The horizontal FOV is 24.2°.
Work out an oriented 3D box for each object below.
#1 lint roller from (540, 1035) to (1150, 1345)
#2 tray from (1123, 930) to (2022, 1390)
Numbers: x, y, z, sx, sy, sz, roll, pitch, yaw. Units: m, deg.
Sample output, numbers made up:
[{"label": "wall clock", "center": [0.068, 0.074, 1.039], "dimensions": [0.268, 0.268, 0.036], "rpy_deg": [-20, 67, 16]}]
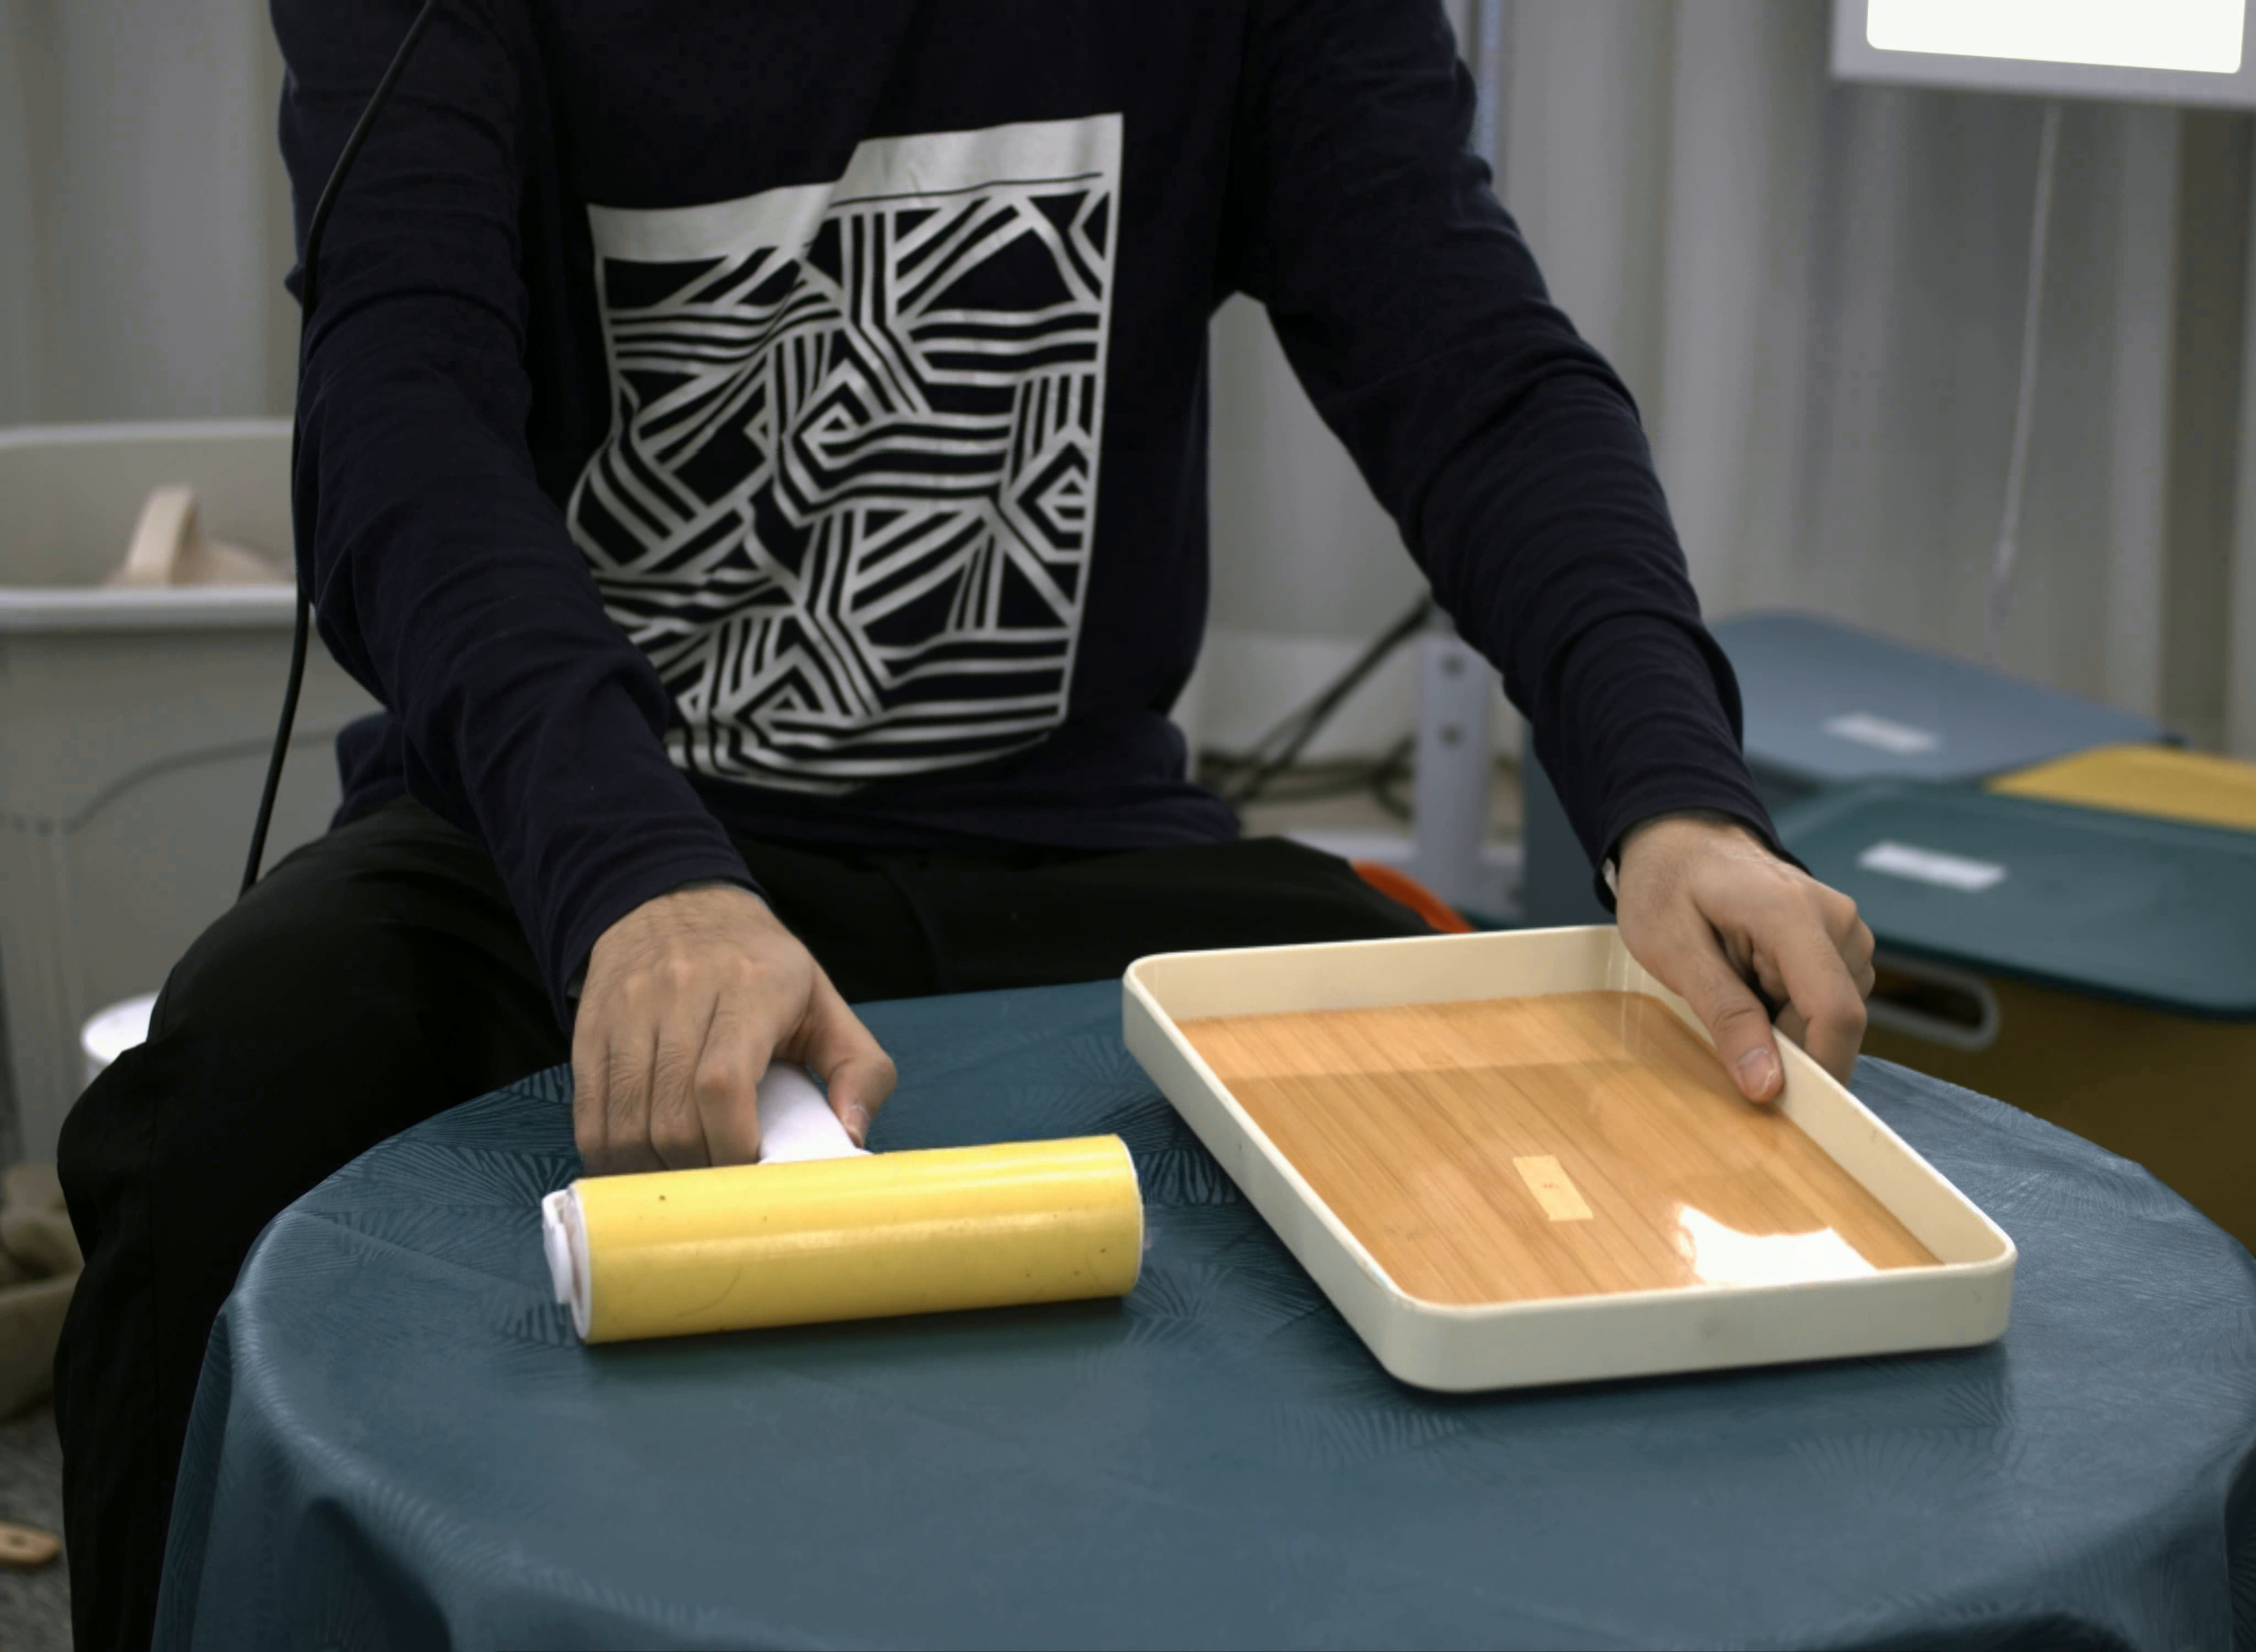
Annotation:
[{"label": "lint roller", "center": [-0.098, 0.091, 1.570], "dimensions": [0.174, 0.052, 0.190], "rpy_deg": [-4, 26, -15]}, {"label": "tray", "center": [0.126, 0.096, 1.600], "dimensions": [0.192, 0.027, 0.297], "rpy_deg": [-3, 19, -17]}]
